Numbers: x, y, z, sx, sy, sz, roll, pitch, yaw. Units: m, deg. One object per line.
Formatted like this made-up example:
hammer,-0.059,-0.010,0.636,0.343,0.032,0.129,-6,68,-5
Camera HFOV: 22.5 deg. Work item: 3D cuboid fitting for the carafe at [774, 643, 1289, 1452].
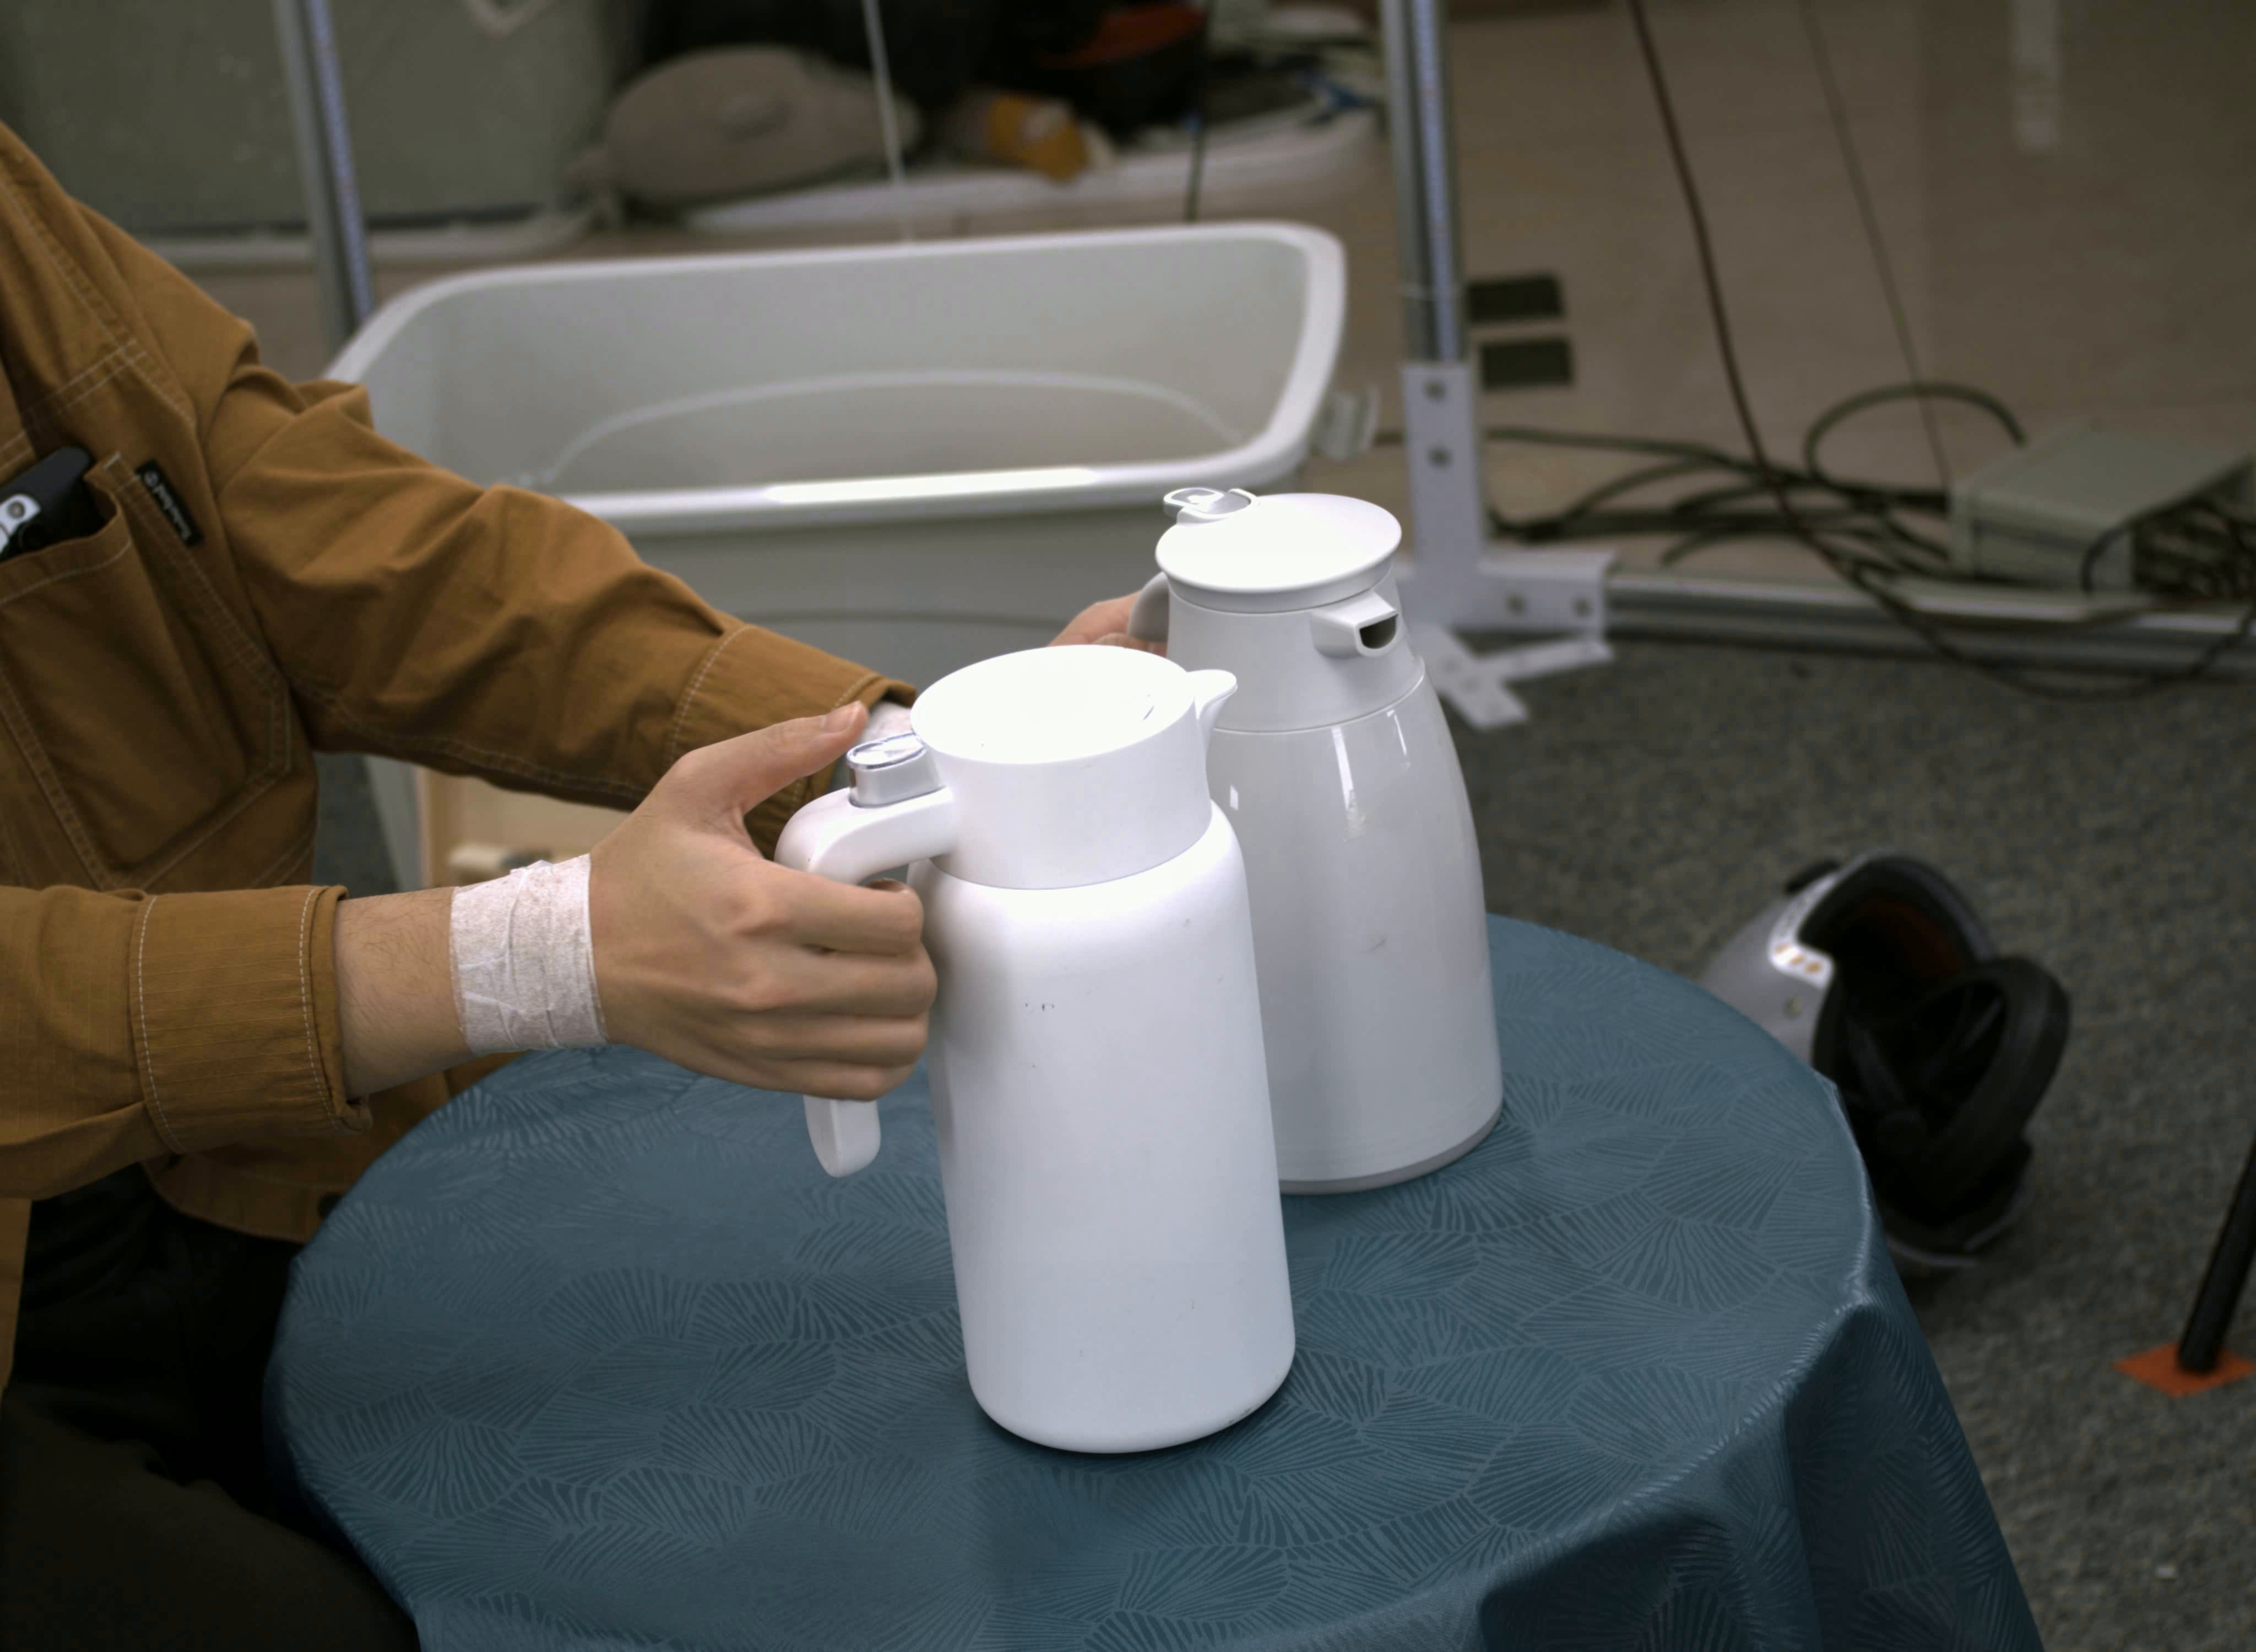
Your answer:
carafe,-0.028,0.082,1.958,0.172,0.273,0.122,-17,30,-21

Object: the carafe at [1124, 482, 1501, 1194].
carafe,0.055,-0.006,2.148,0.132,0.252,0.166,-21,29,-28
